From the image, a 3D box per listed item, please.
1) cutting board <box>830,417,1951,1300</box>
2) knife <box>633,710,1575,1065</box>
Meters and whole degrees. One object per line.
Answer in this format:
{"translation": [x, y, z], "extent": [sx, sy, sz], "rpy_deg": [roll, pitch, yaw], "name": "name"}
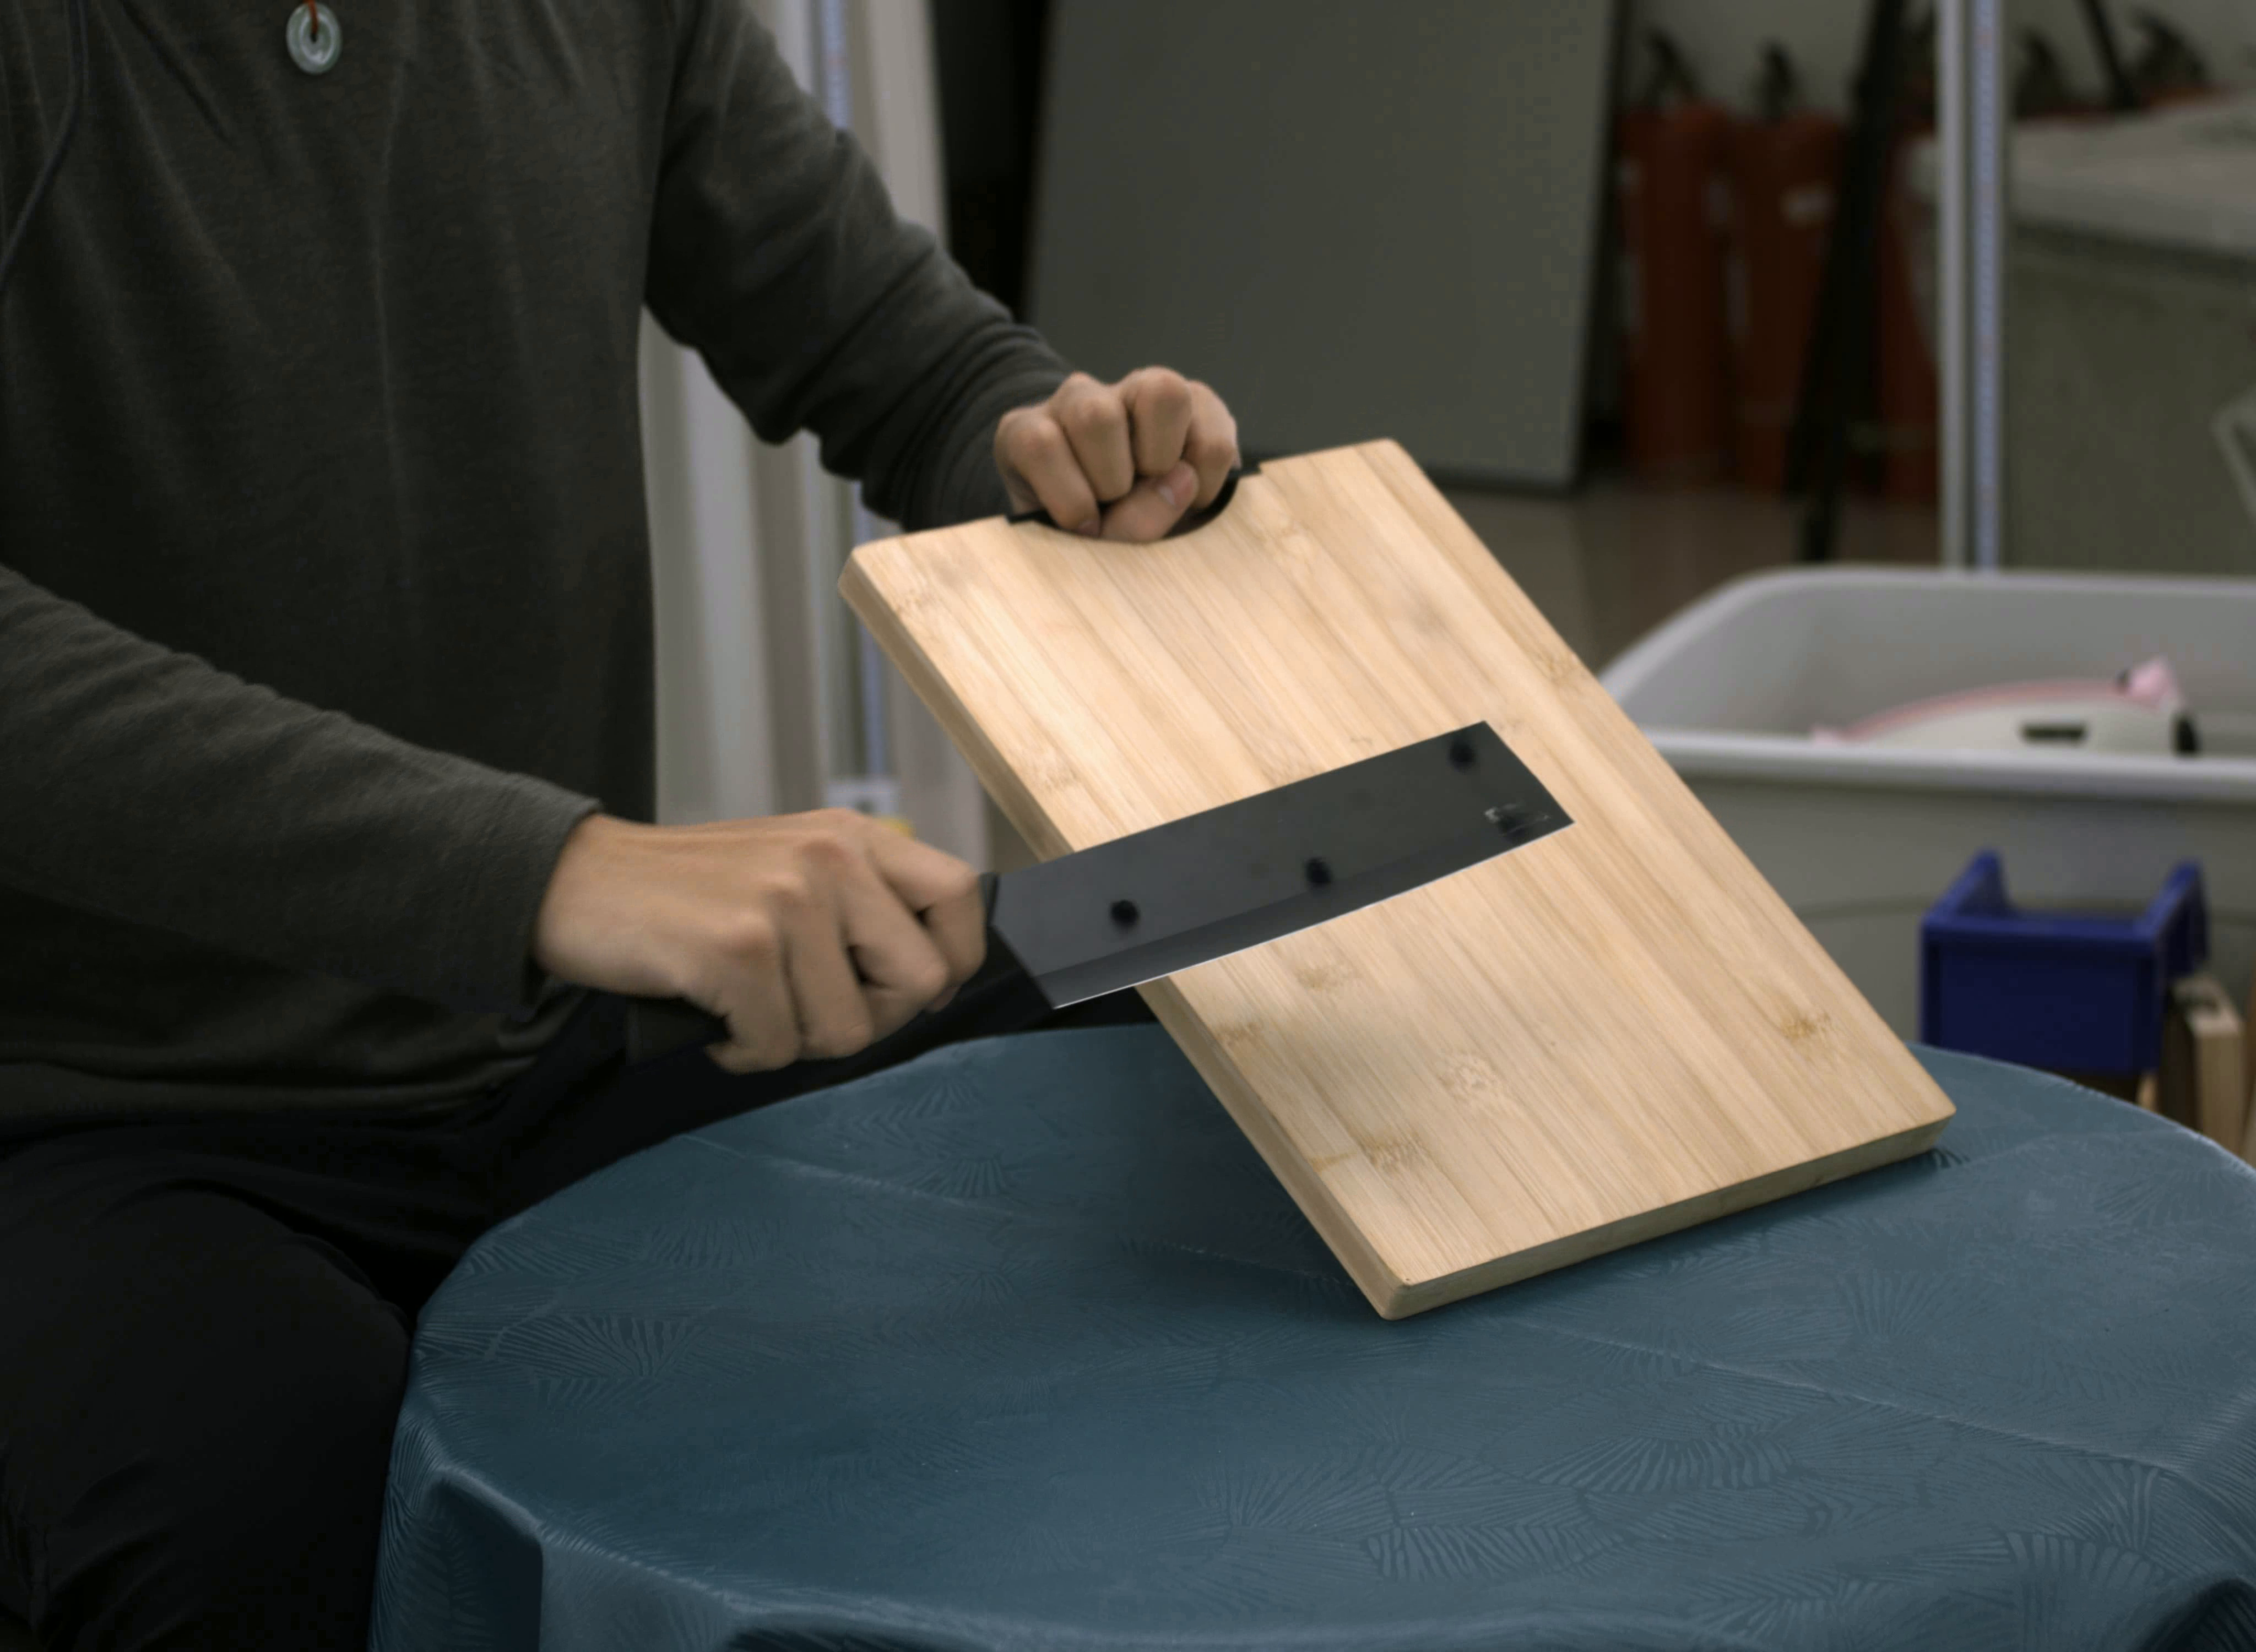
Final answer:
{"translation": [0.084, 0.002, 1.783], "extent": [0.245, 0.024, 0.353], "rpy_deg": [-13, 52, -35], "name": "cutting board"}
{"translation": [-0.008, 0.022, 1.622], "extent": [0.297, 0.021, 0.082], "rpy_deg": [-15, 39, -15], "name": "knife"}
